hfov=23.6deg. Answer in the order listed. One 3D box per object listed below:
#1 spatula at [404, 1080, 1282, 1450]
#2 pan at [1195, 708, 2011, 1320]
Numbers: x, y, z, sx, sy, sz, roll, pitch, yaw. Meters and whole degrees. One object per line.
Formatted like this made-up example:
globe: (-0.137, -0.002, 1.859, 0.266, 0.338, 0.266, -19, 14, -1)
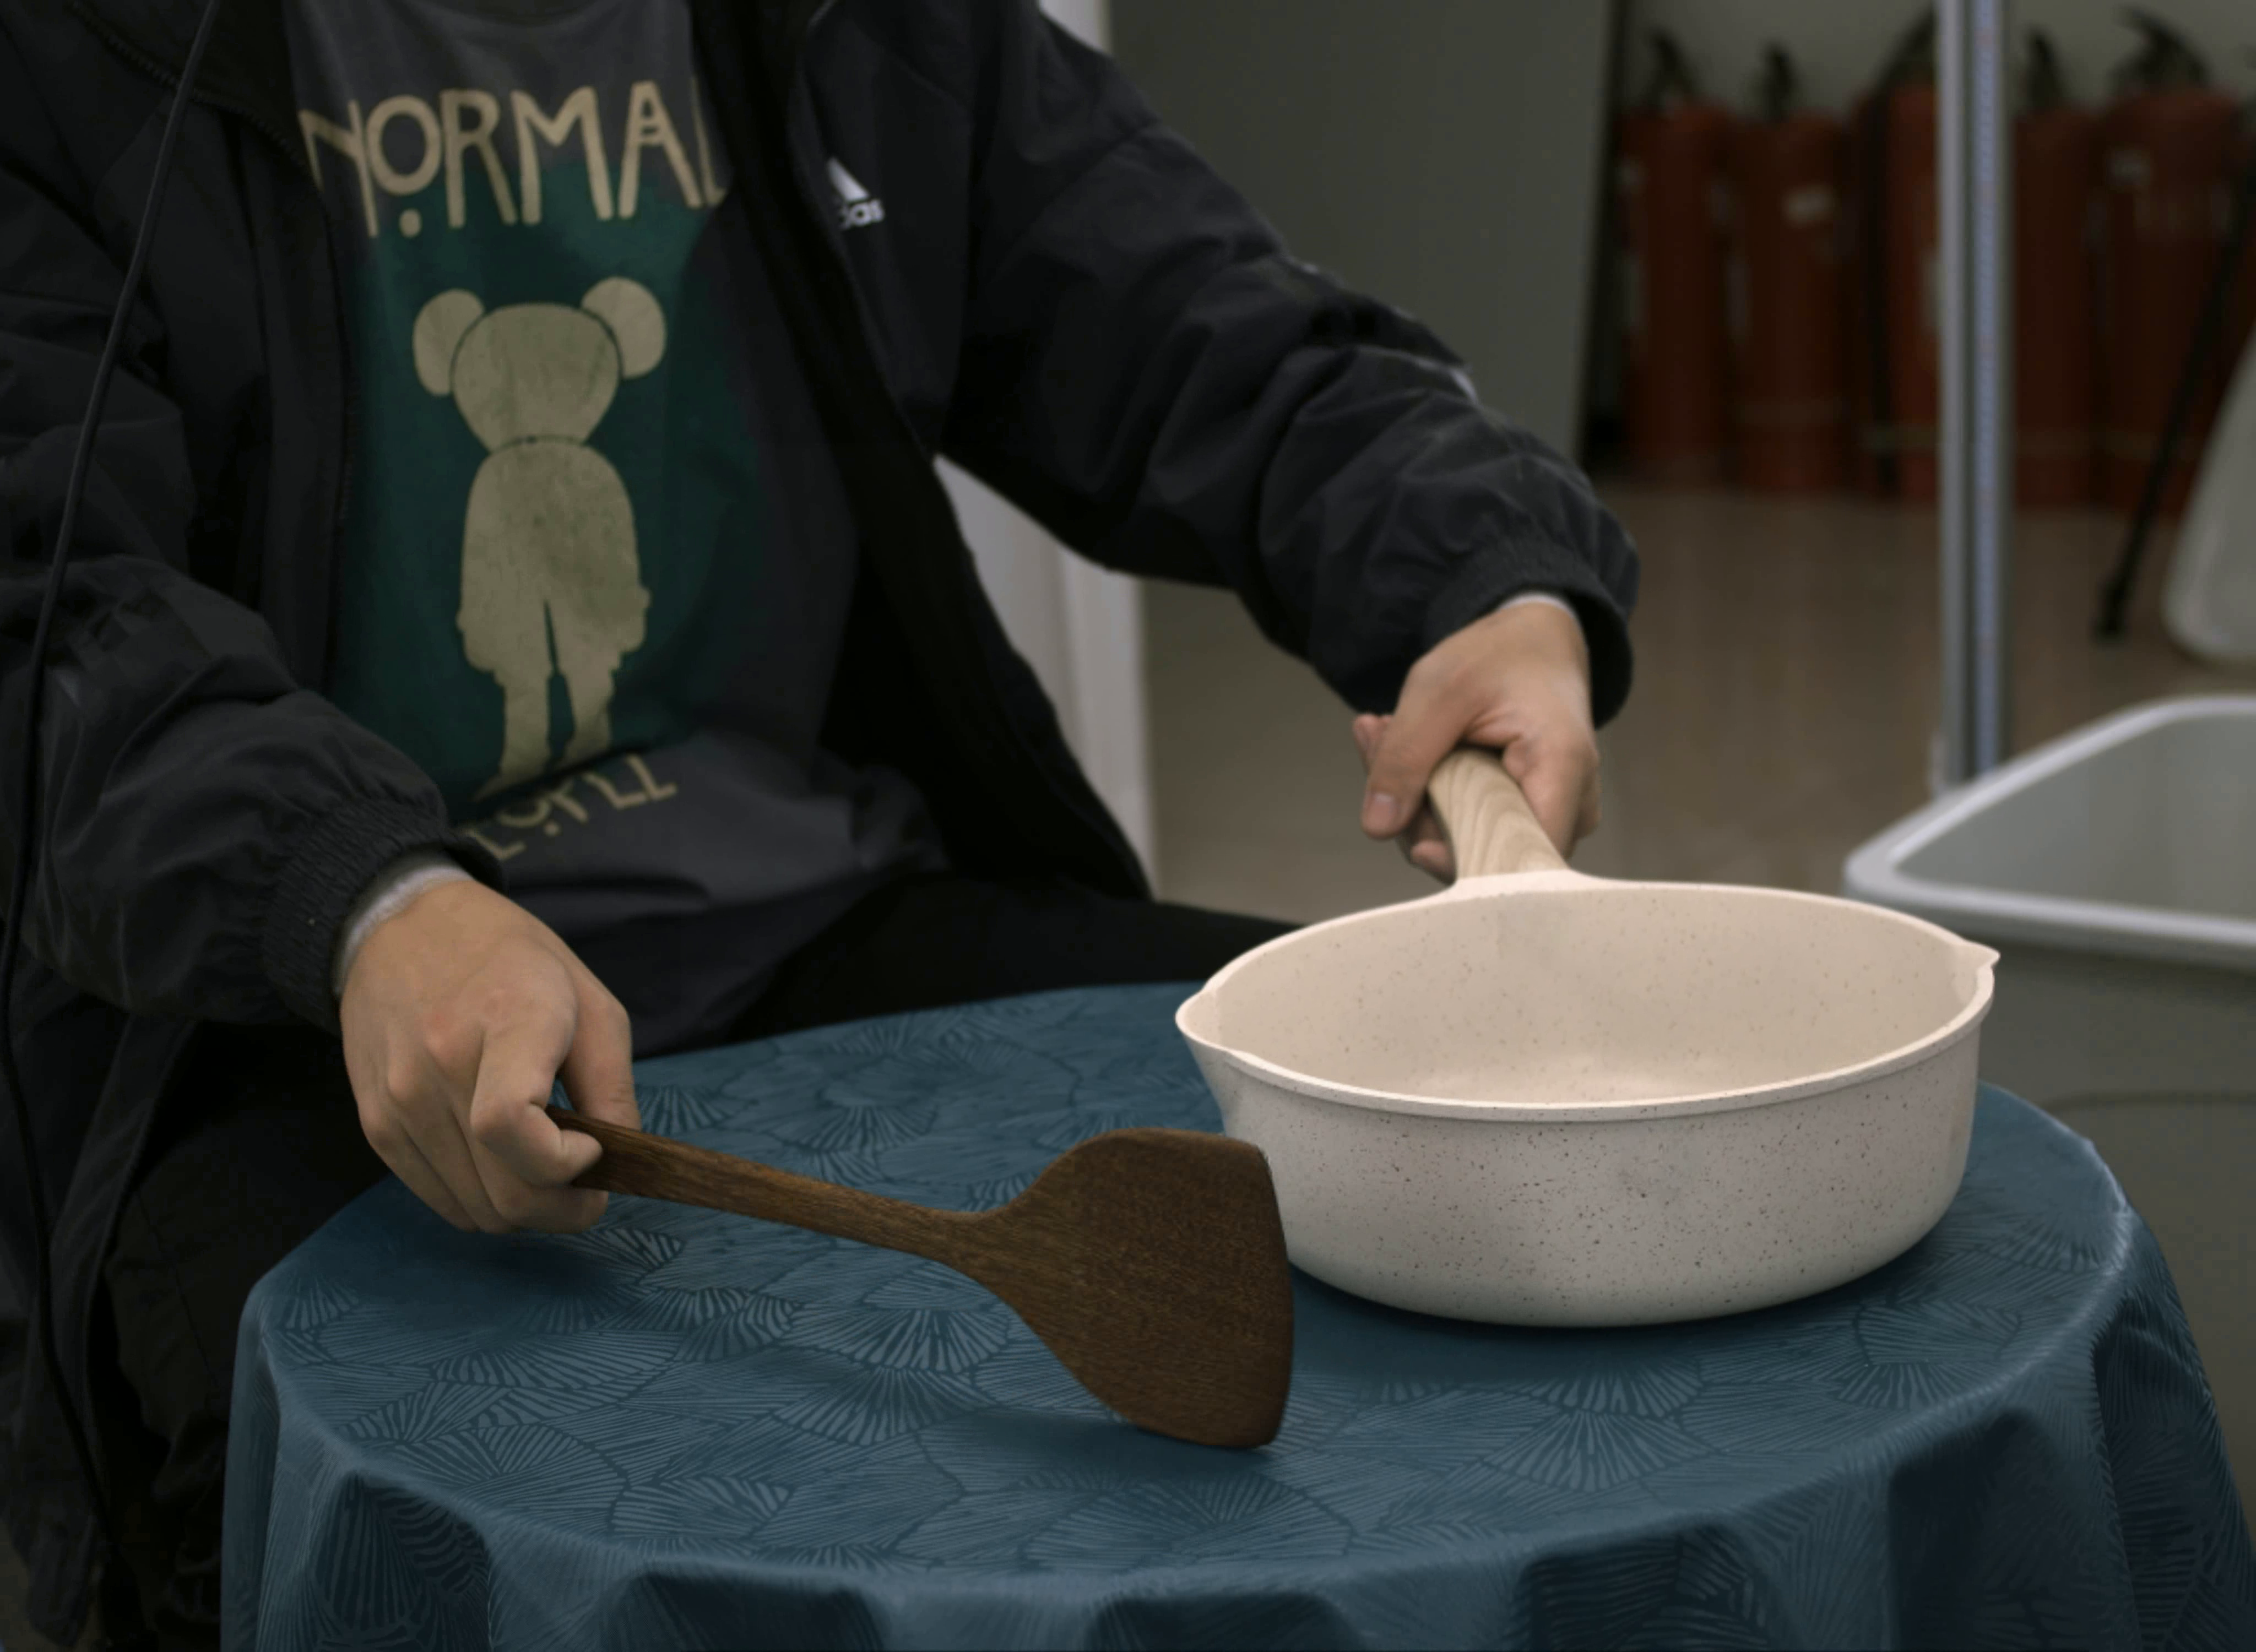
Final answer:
spatula: (-0.096, 0.114, 1.640, 0.015, 0.097, 0.389, -11, 13, -44)
pan: (0.143, 0.057, 1.779, 0.259, 0.103, 0.436, -7, 14, -4)
